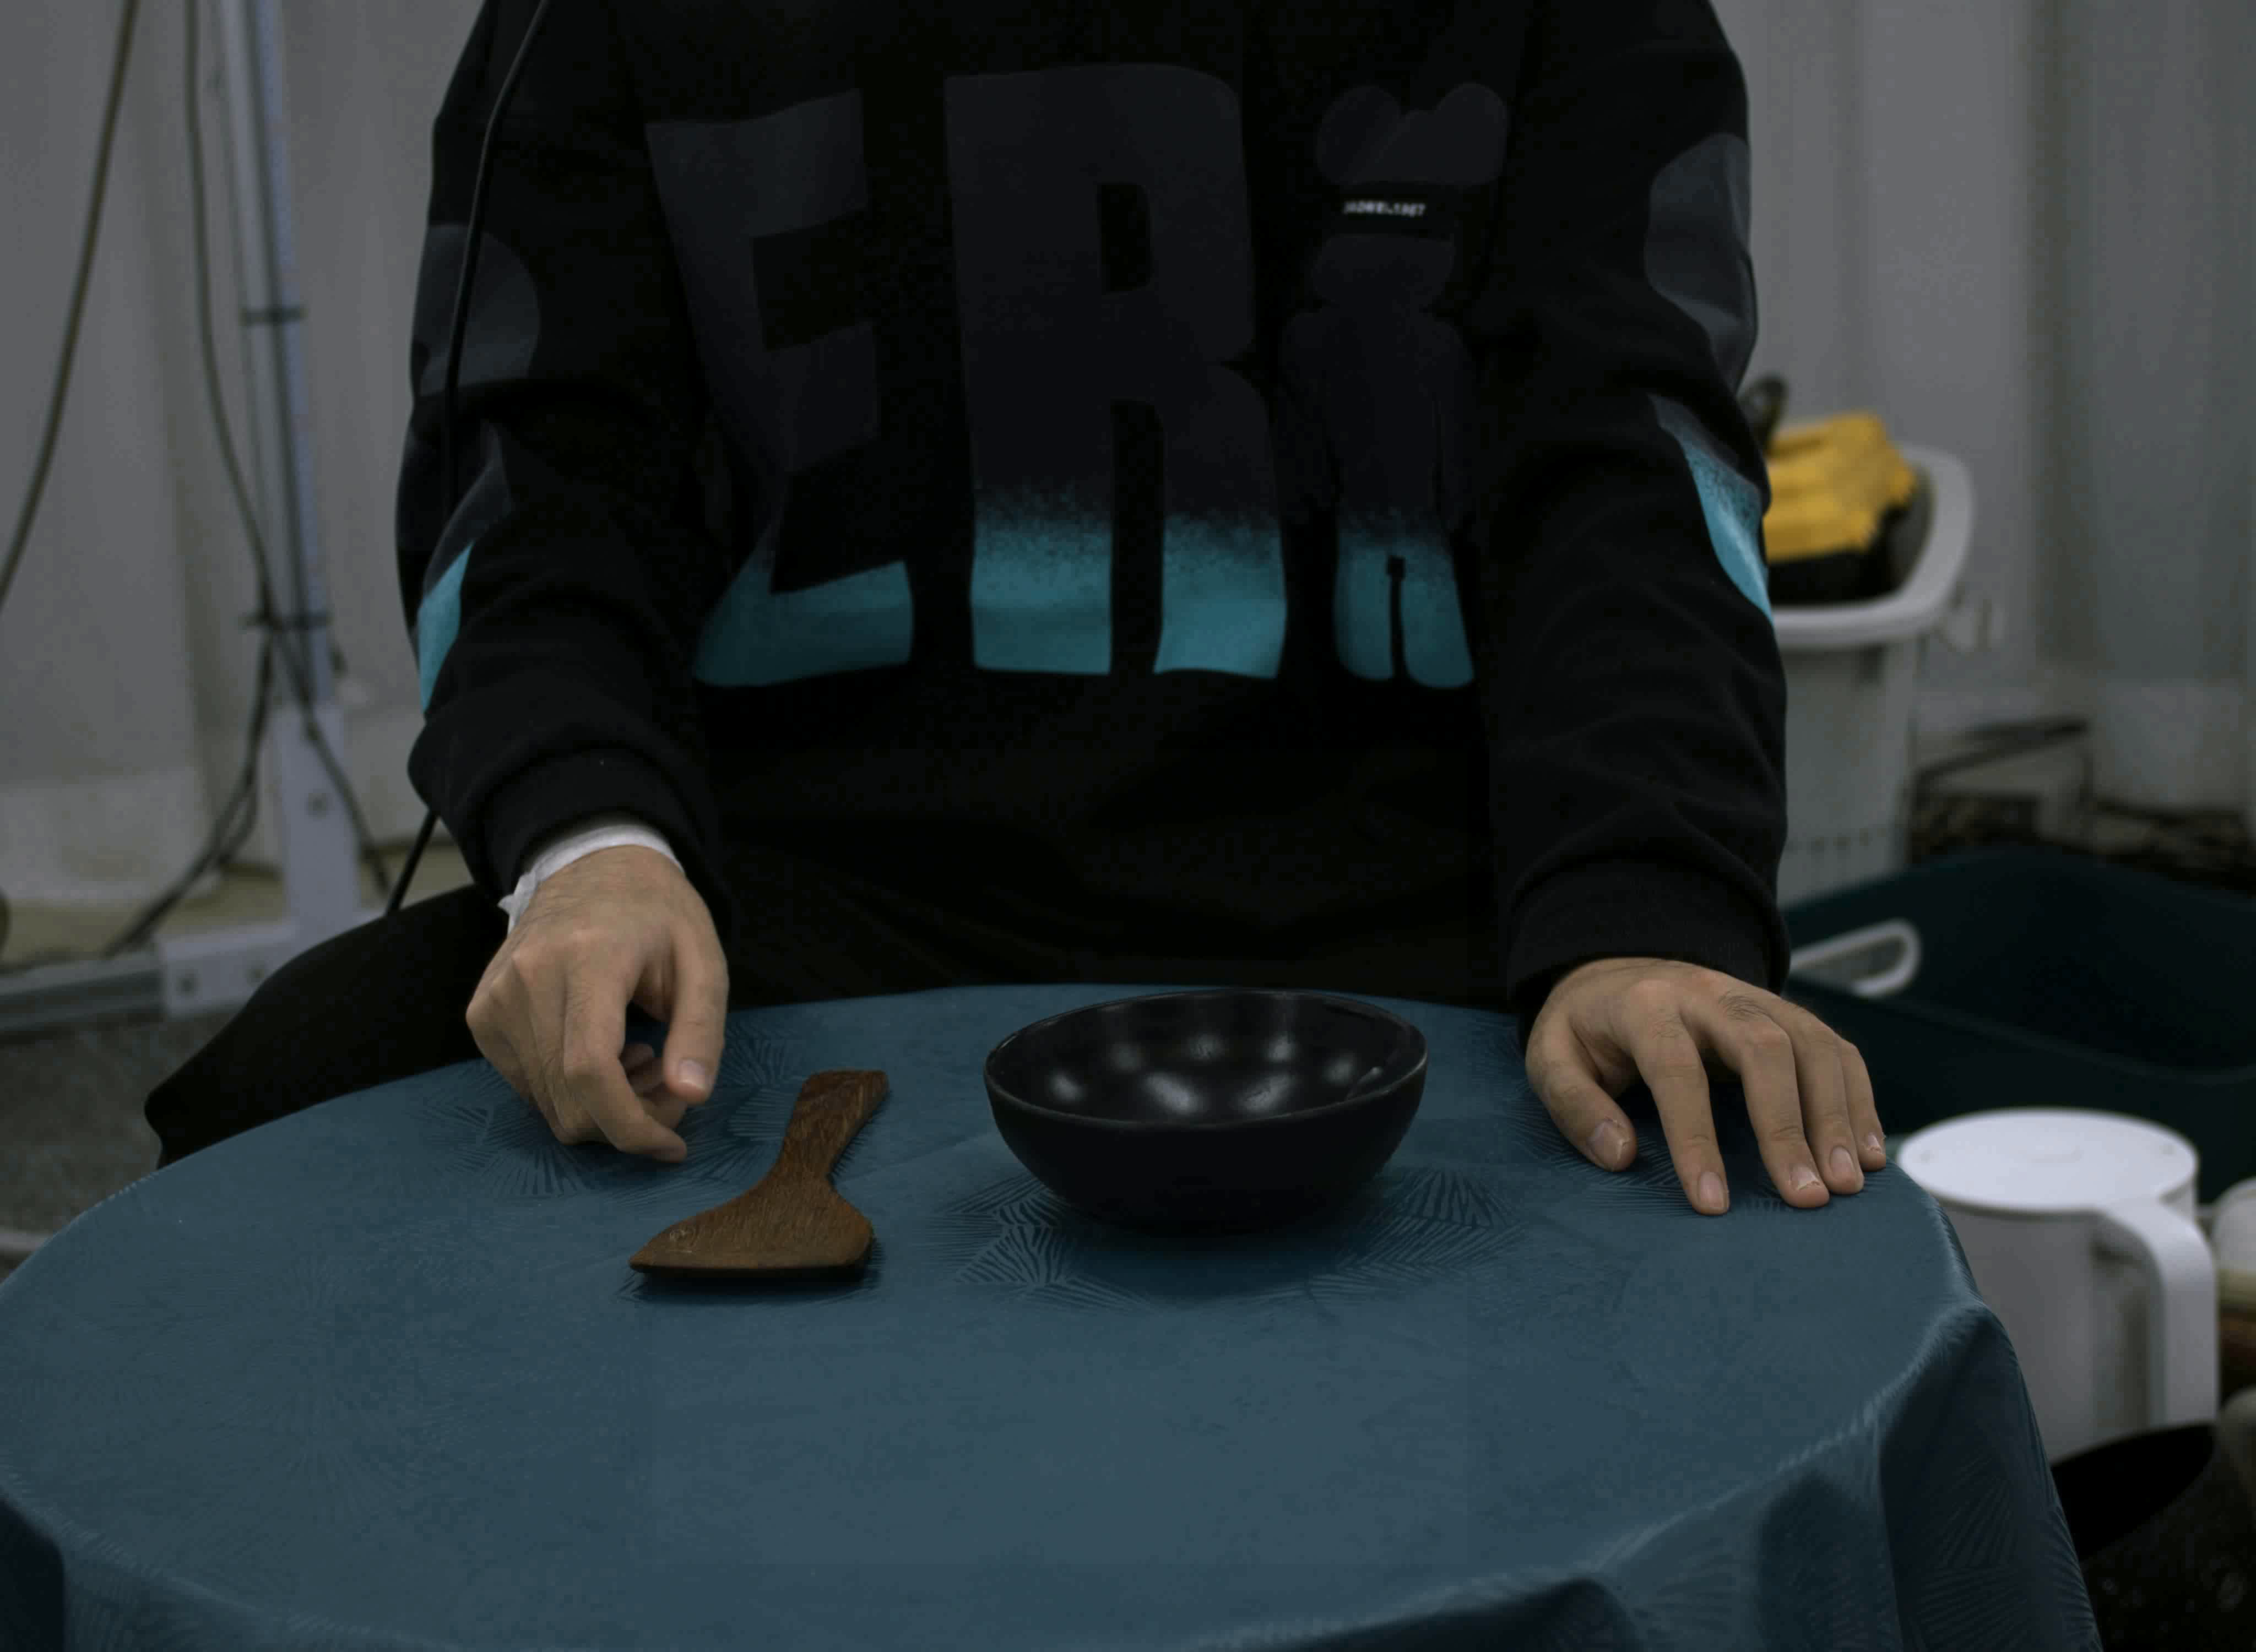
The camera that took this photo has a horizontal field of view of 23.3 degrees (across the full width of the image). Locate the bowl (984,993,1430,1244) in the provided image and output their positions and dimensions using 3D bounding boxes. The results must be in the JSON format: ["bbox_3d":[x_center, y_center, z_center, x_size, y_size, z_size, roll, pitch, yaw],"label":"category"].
[{"bbox_3d":[0.027,0.095,1.694,0.139,0.049,0.141,-5,14,1],"label":"bowl"}]

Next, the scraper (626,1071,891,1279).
[{"bbox_3d":[-0.104,0.110,1.736,0.075,0.011,0.212,0,14,7],"label":"scraper"}]
